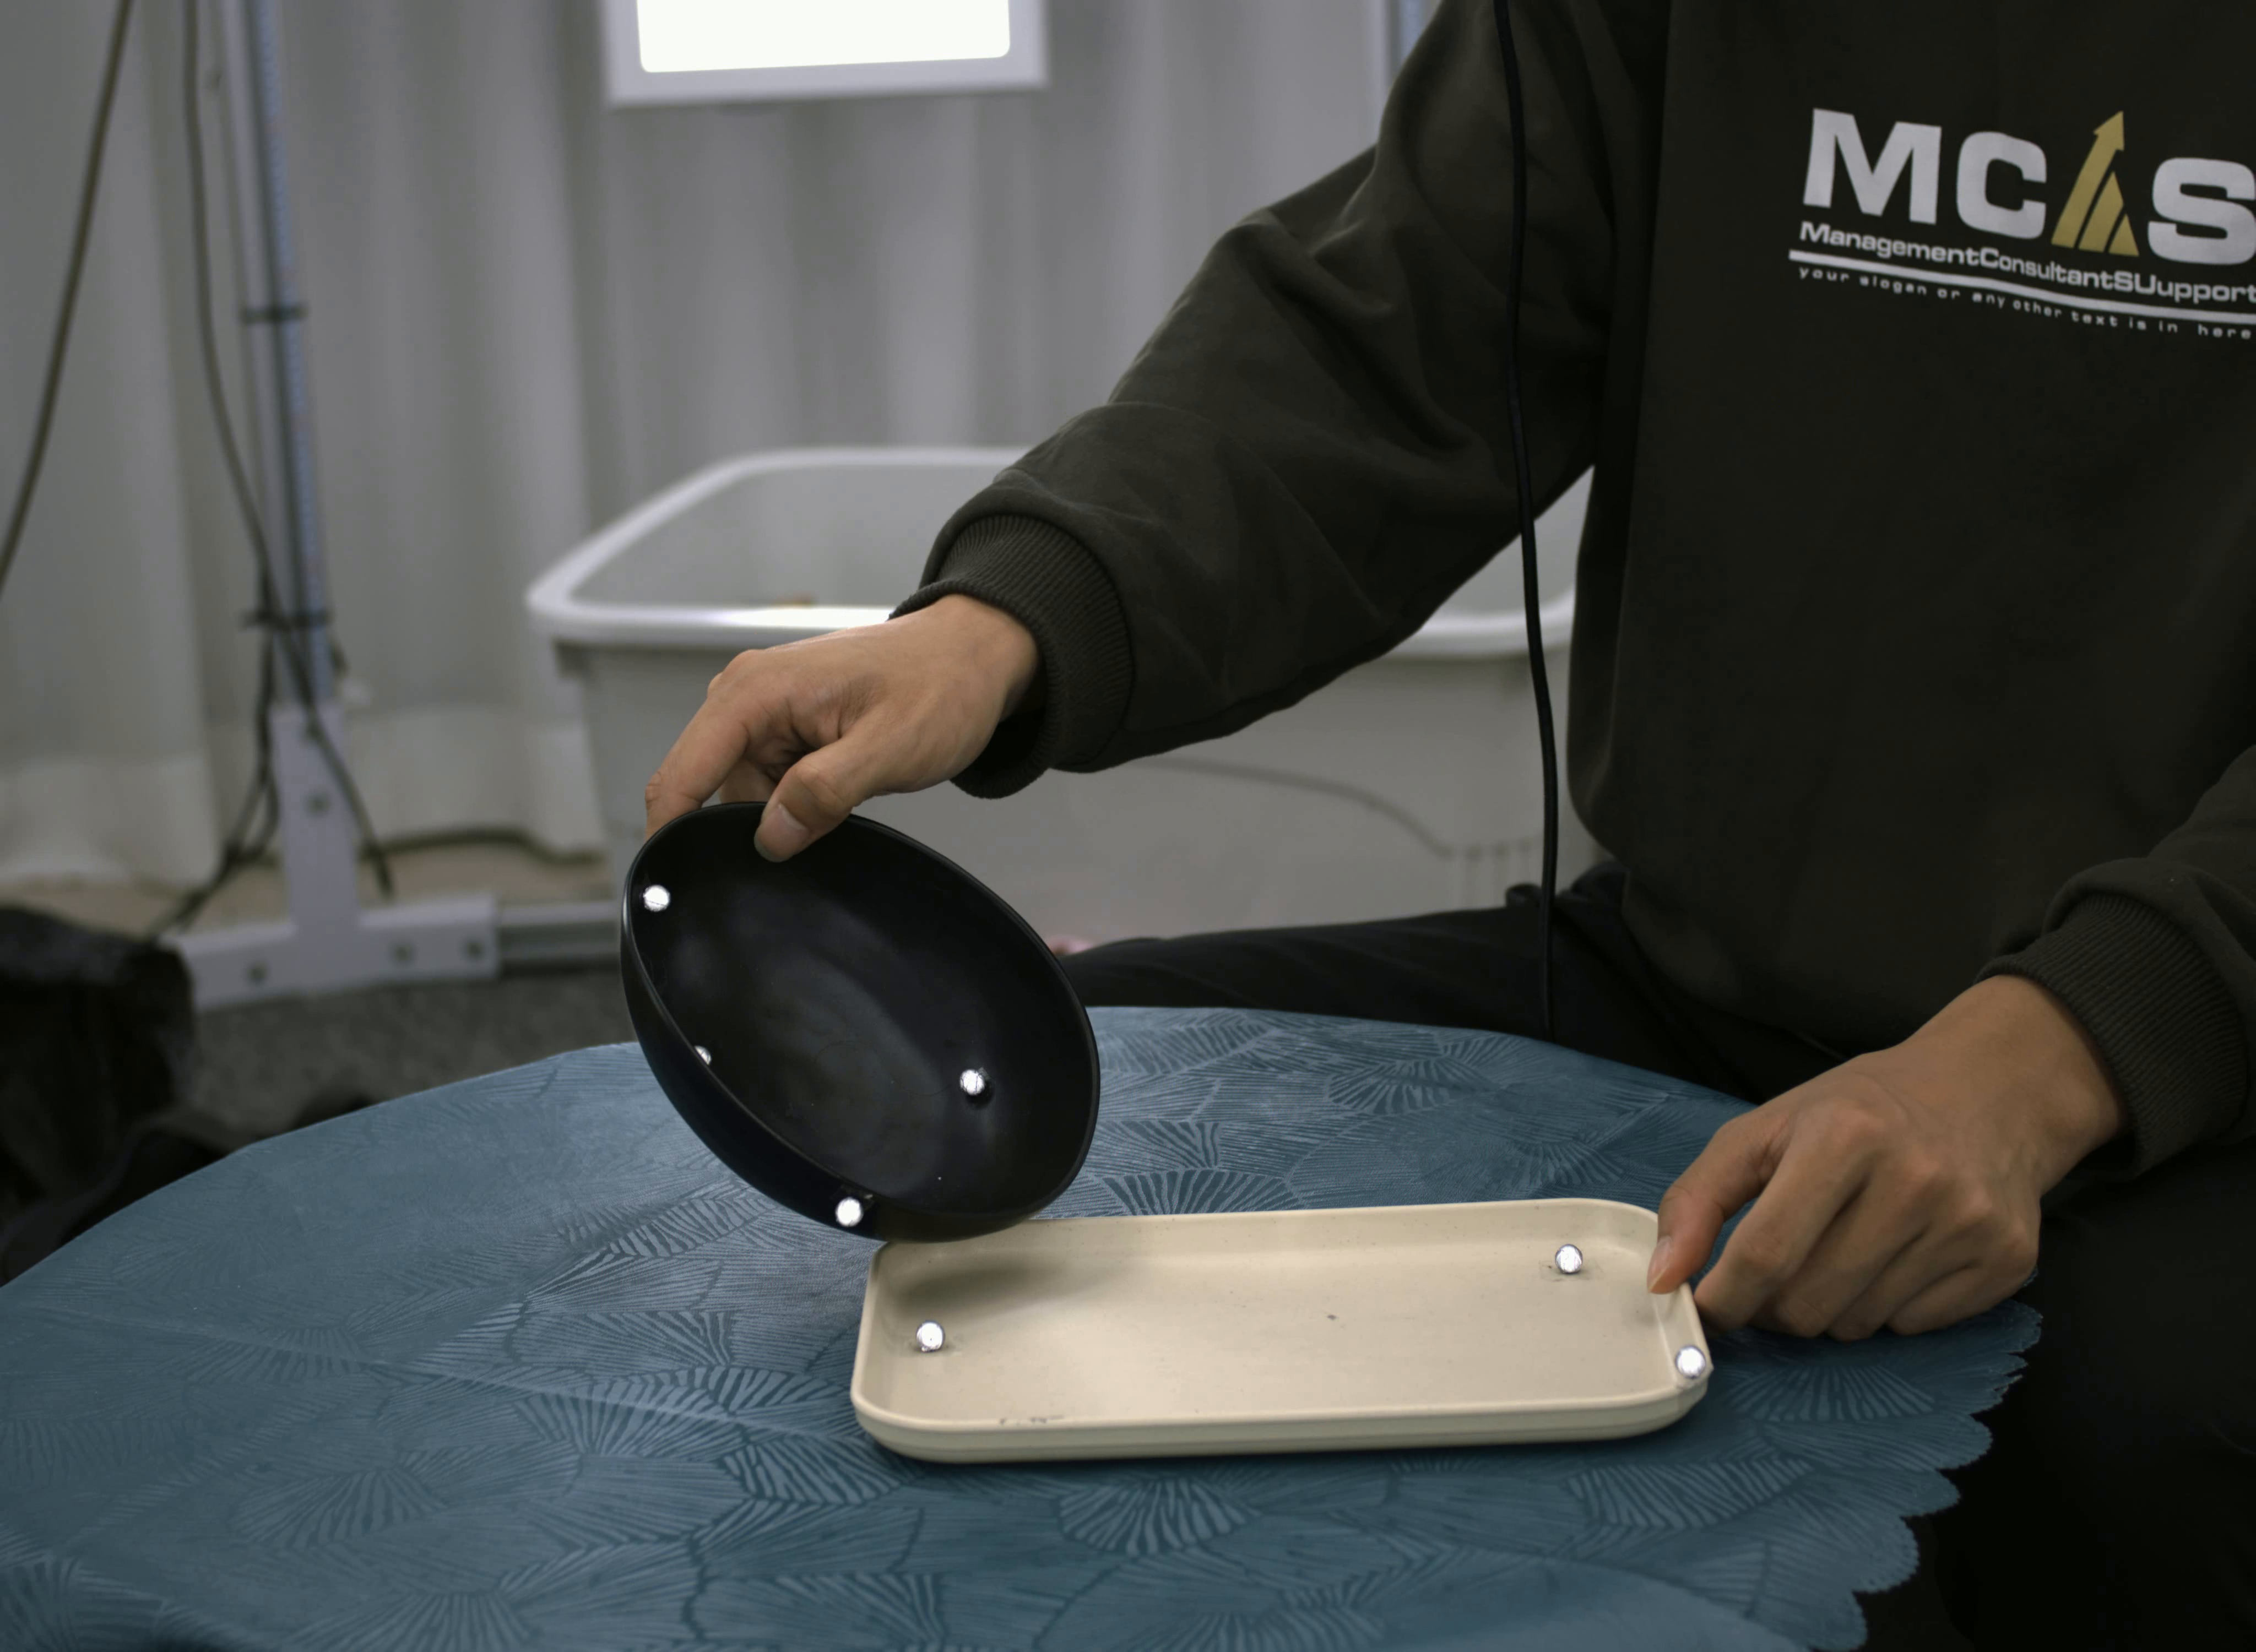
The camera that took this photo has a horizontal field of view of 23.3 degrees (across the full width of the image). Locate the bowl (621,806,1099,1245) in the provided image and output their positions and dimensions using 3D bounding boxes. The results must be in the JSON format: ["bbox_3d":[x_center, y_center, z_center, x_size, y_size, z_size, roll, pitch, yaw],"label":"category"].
[{"bbox_3d":[-0.091,0.069,1.655,0.137,0.066,0.172,-25,63,-43],"label":"bowl"}]

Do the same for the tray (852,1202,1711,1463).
[{"bbox_3d":[0.042,0.145,1.564,0.239,0.017,0.172,-2,14,1],"label":"tray"}]
